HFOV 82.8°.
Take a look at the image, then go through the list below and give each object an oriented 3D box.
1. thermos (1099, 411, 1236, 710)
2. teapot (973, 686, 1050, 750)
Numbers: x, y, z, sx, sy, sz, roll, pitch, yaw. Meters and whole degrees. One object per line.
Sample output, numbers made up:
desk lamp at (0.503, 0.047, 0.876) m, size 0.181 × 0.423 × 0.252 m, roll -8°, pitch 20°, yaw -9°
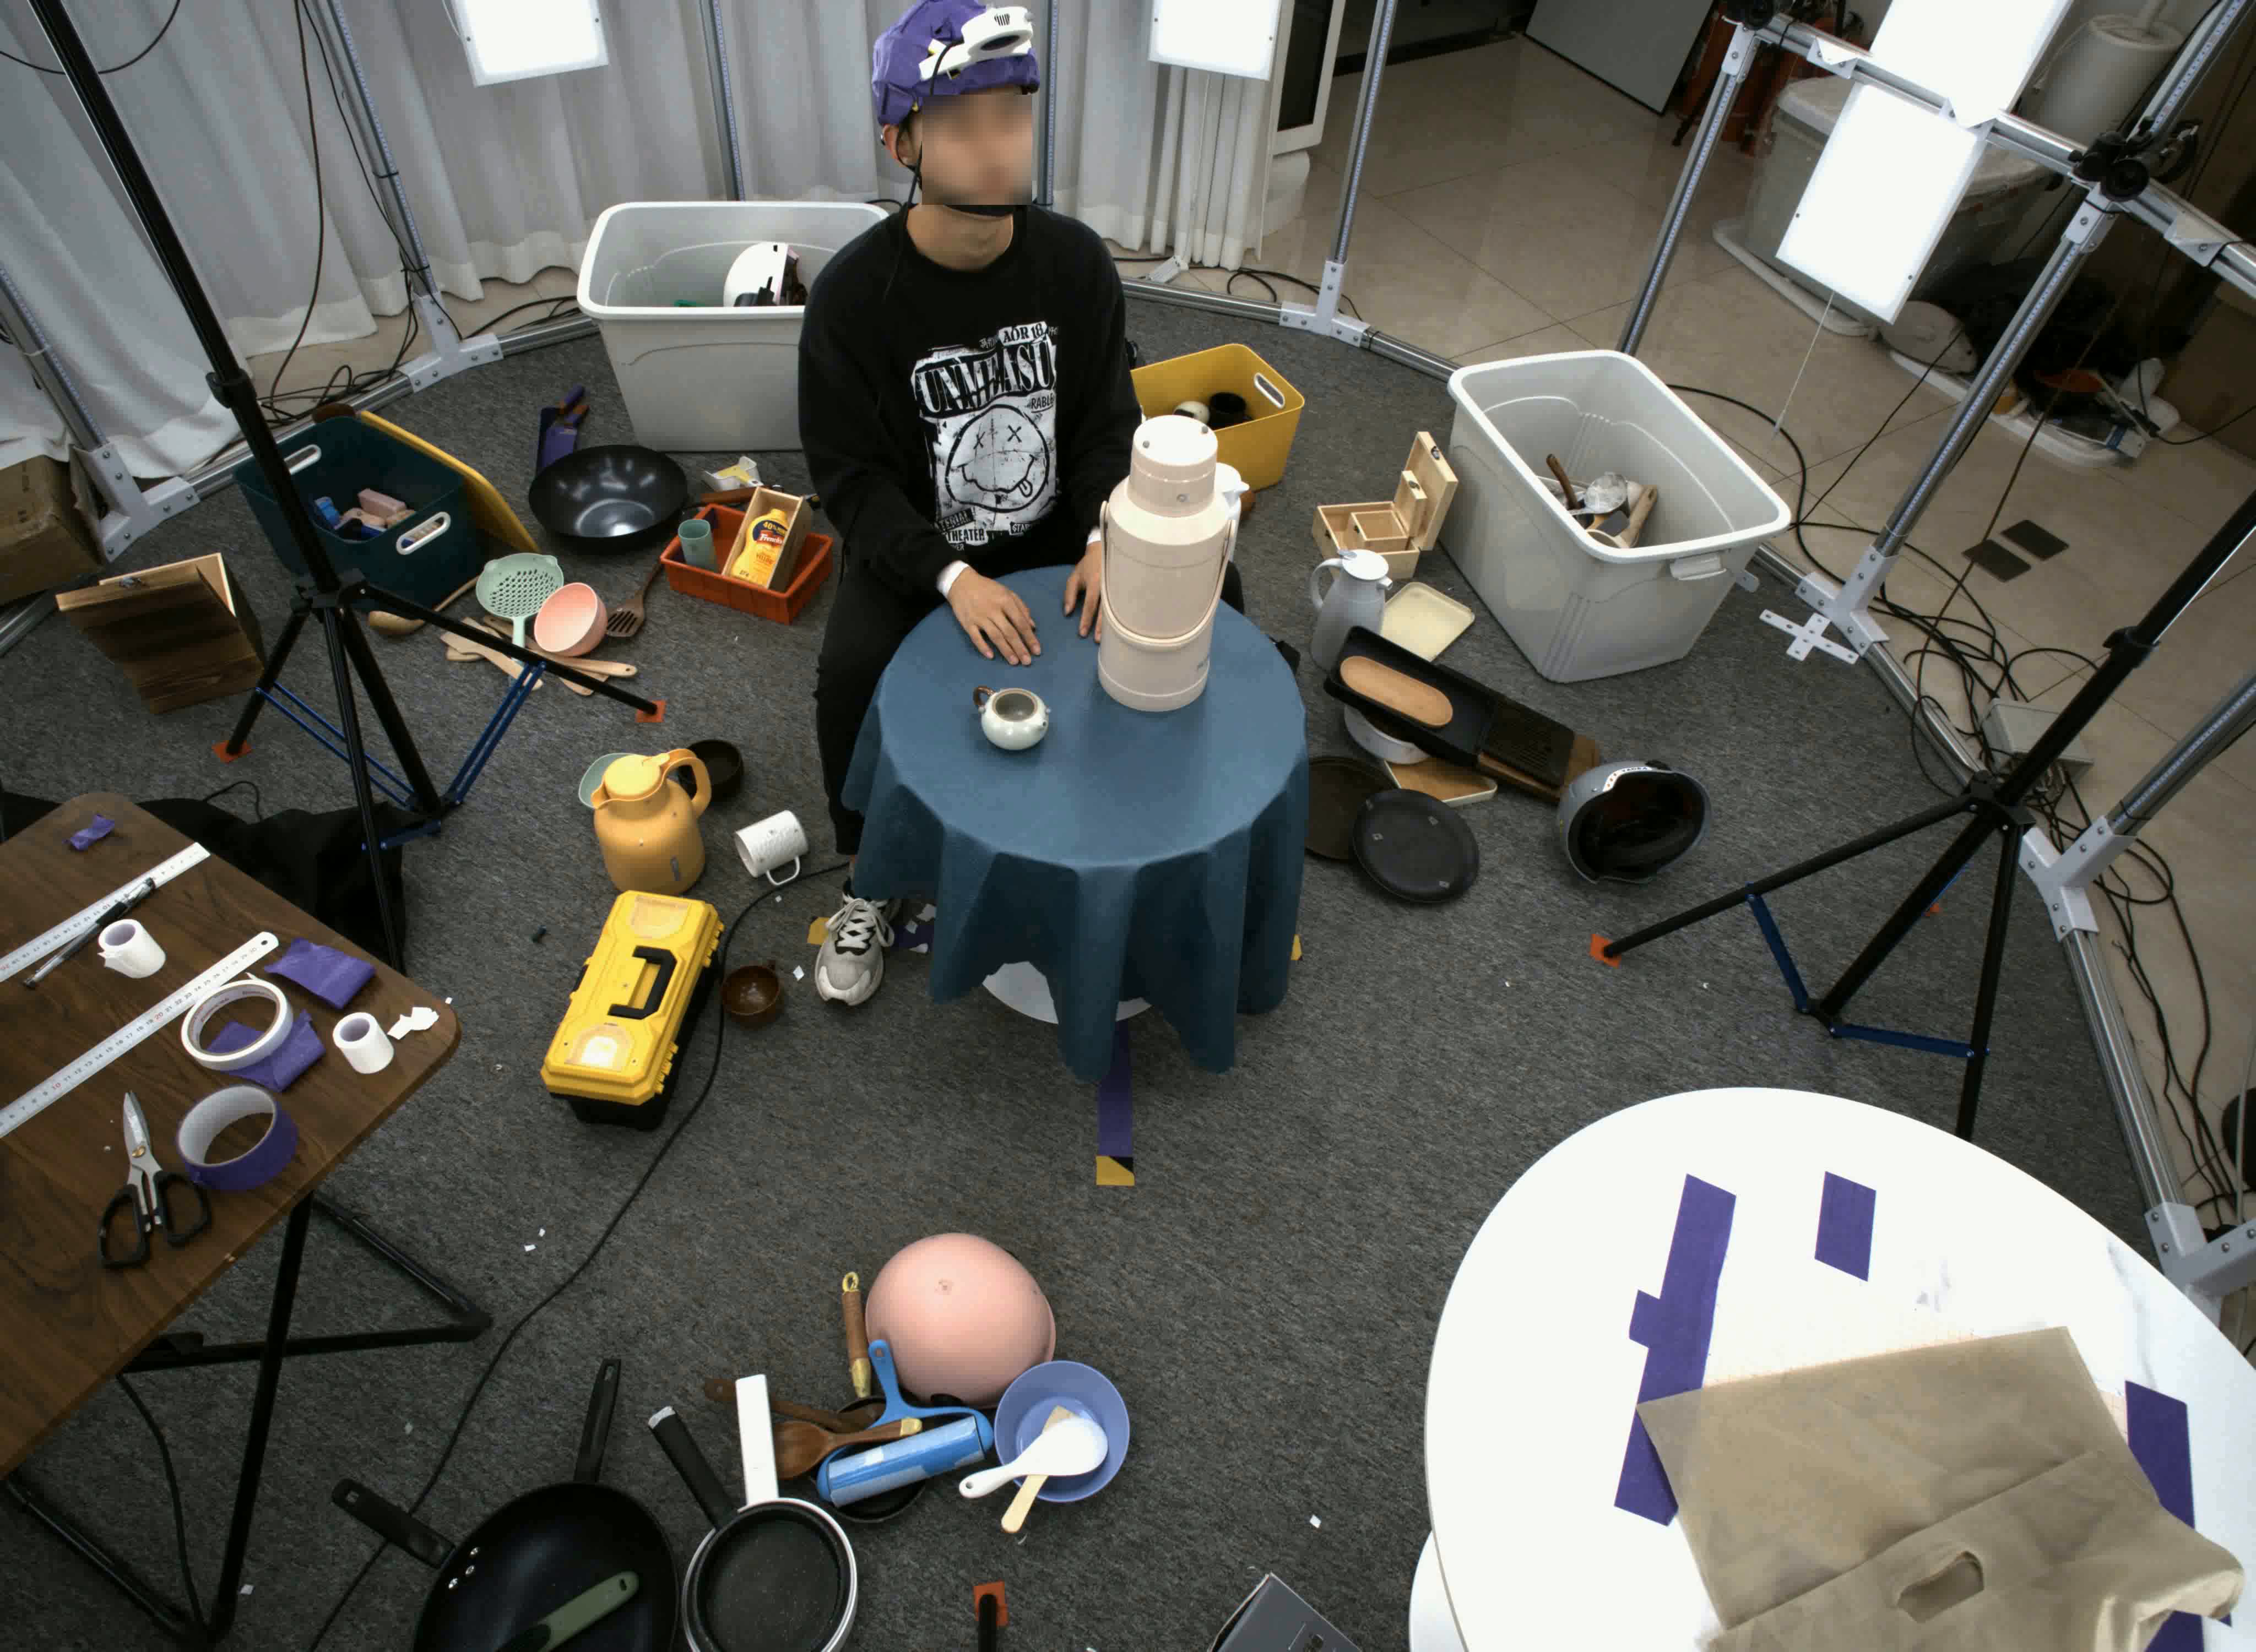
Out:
thermos at (0.051, -0.359, 1.728) m, size 0.175 × 0.396 × 0.212 m, roll 7°, pitch 50°, yaw 4°
teapot at (-0.161, -0.150, 1.752) m, size 0.129 × 0.058 × 0.093 m, roll 30°, pitch 57°, yaw 19°
